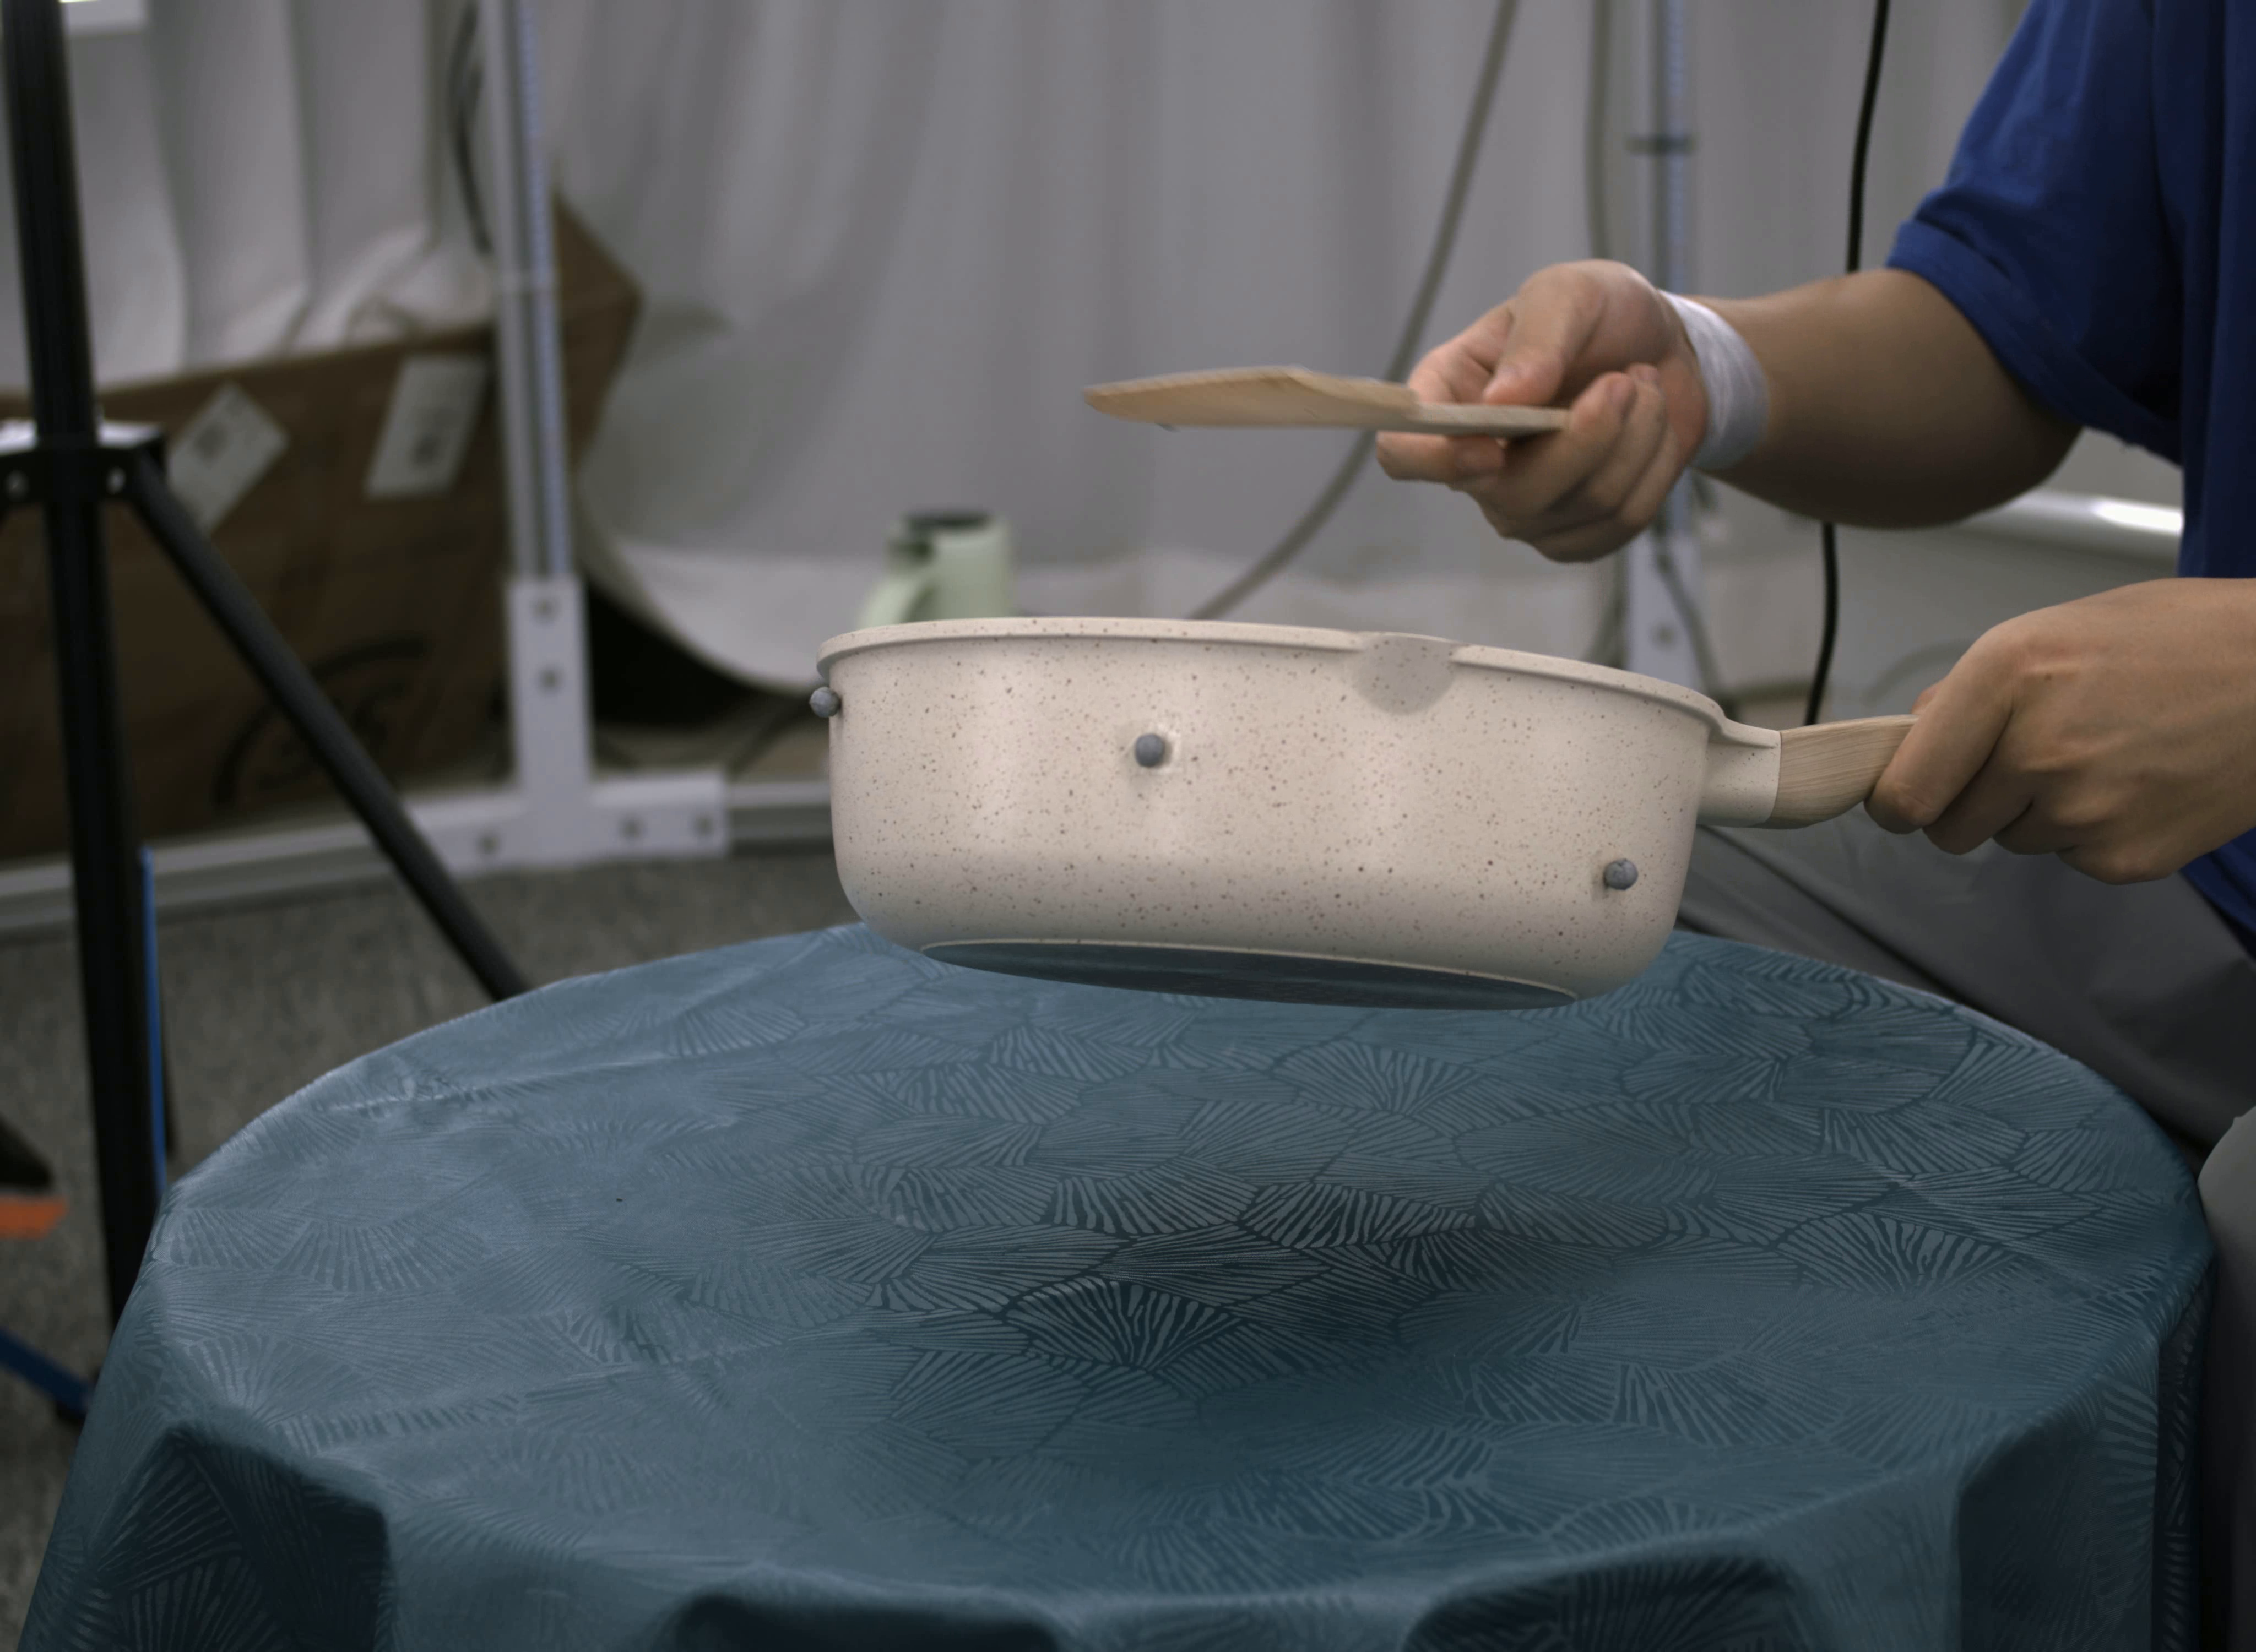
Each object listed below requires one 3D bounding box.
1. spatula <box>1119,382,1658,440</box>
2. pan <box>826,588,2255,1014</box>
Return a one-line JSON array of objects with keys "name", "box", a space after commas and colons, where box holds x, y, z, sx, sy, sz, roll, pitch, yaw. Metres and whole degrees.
[{"name": "spatula", "box": [0.092, -0.122, 1.597, 0.073, 0.011, 0.287, -2, 1, 29]}, {"name": "pan", "box": [0.126, 0.001, 1.478, 0.428, 0.102, 0.266, 7, -8, -14]}]
